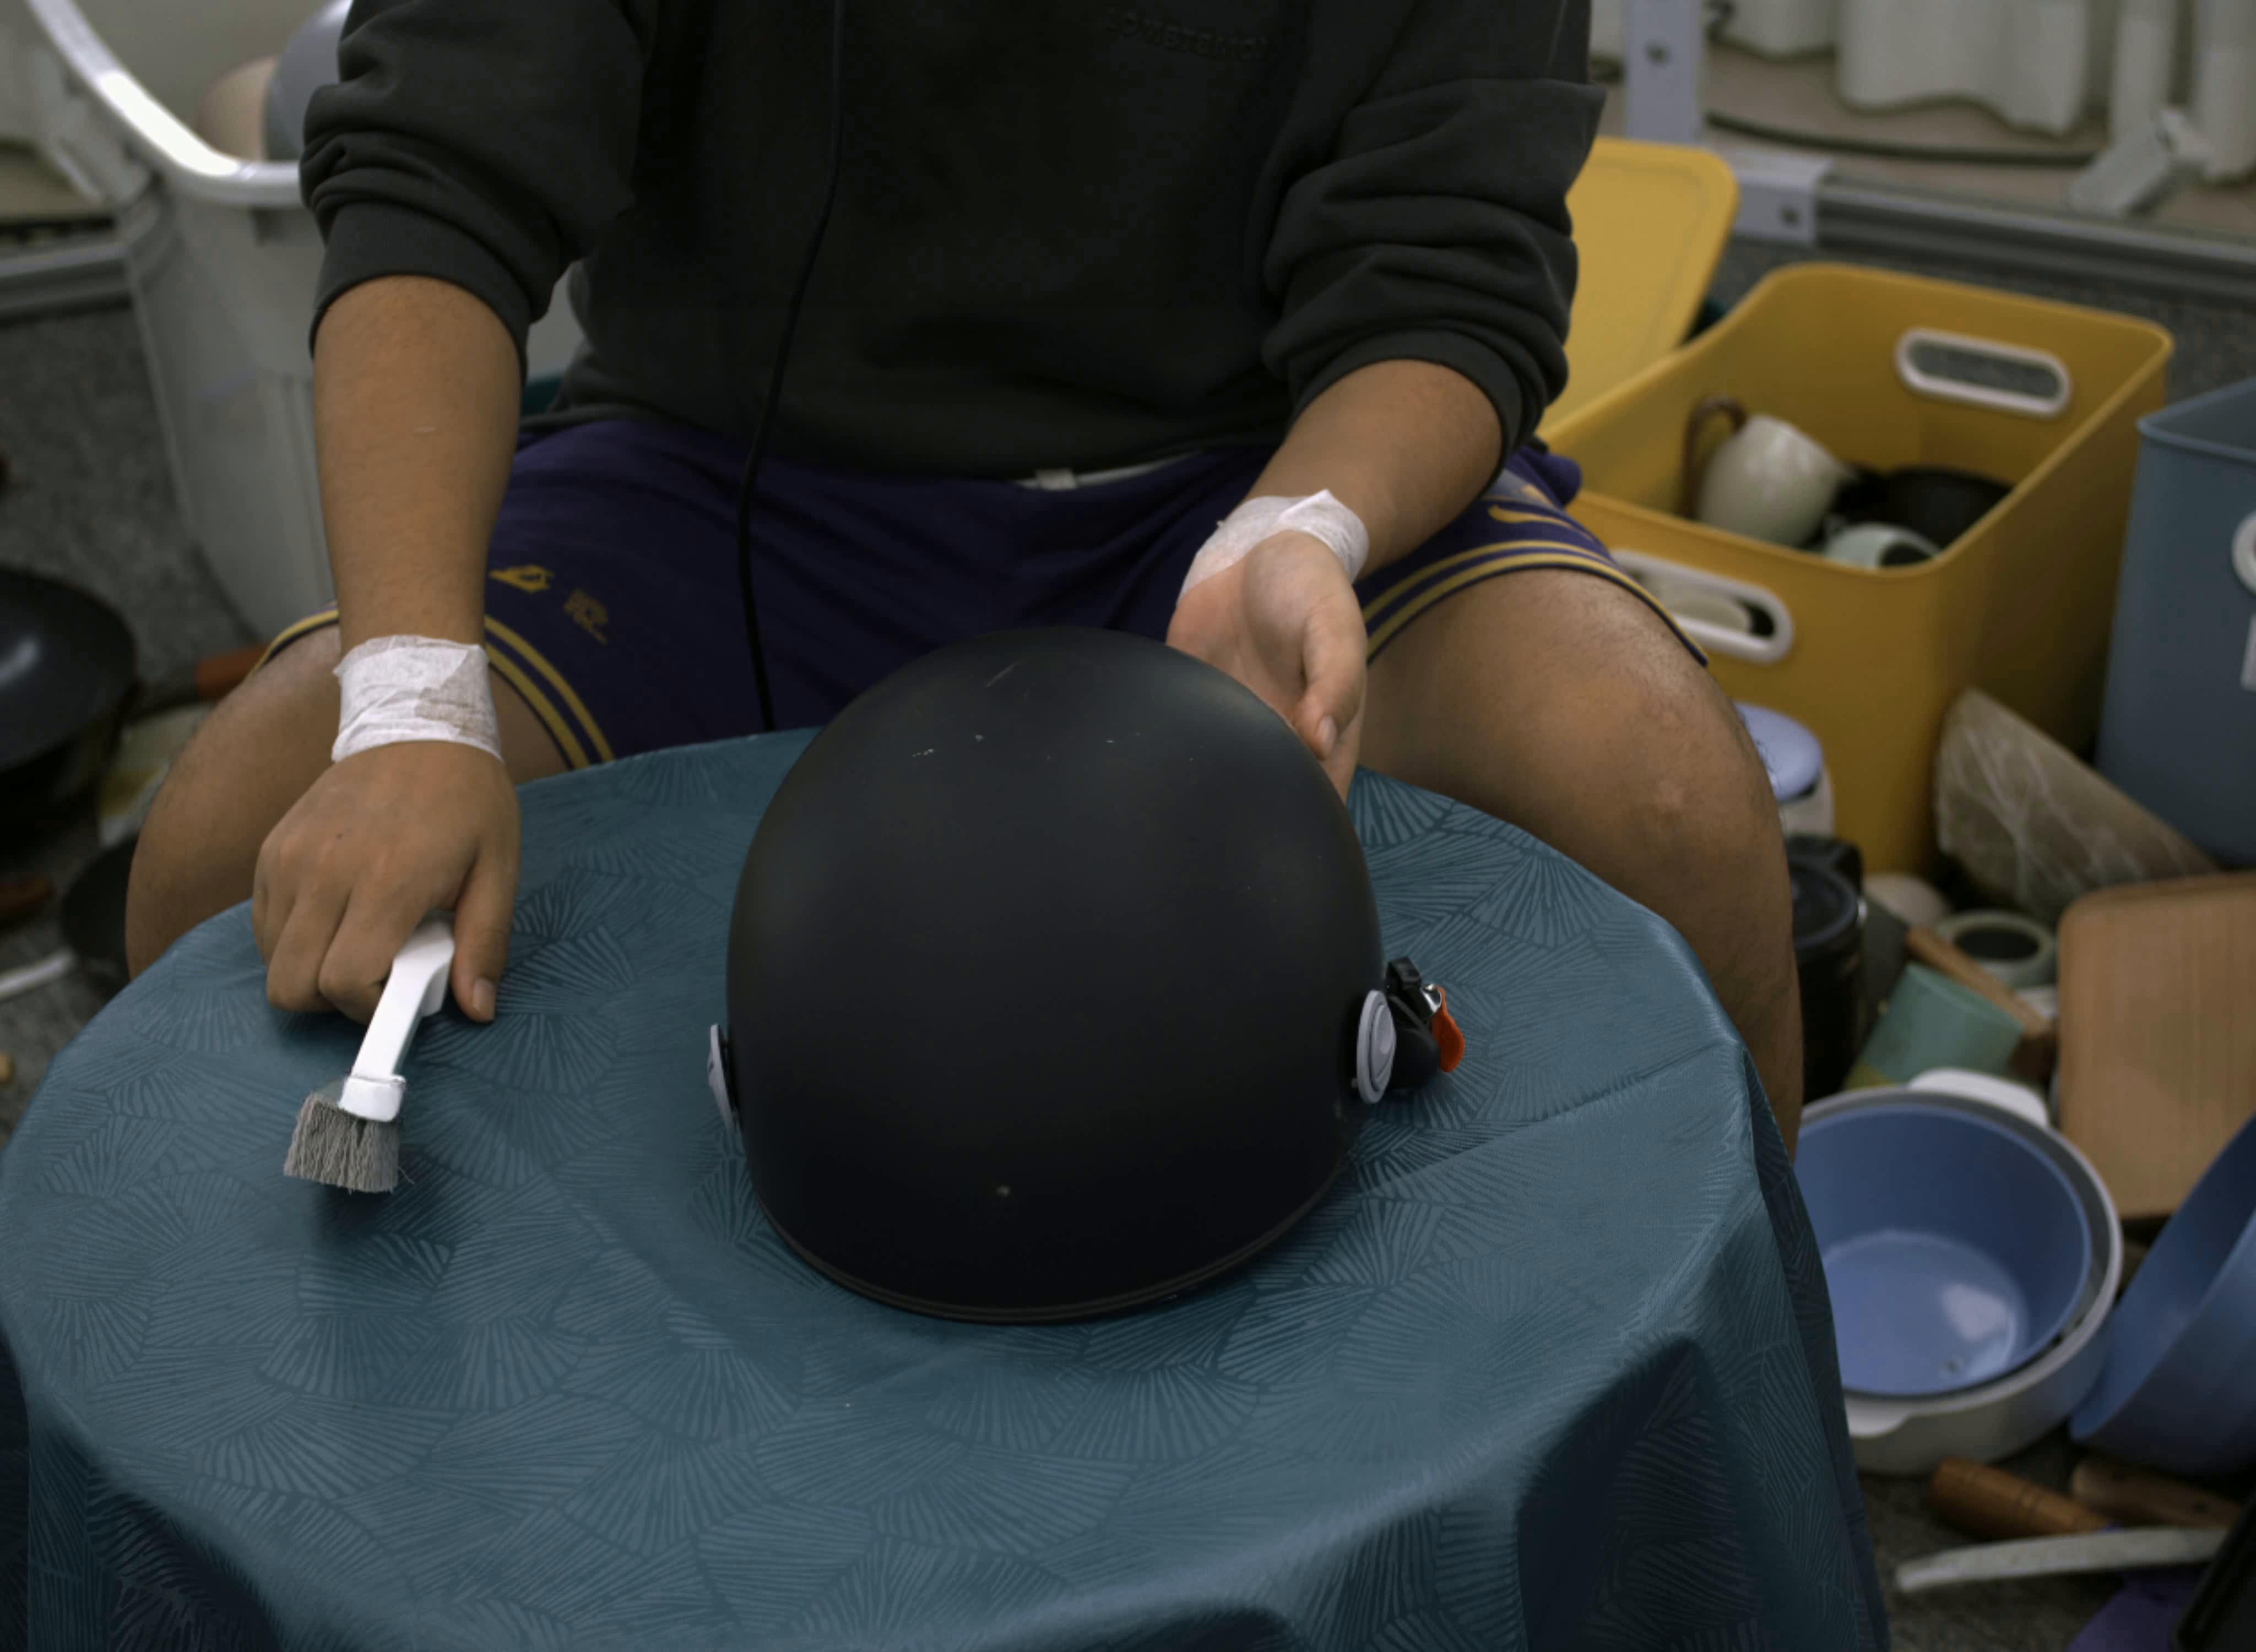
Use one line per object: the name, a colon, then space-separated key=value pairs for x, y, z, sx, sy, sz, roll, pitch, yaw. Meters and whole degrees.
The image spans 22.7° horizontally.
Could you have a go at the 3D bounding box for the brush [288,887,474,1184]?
brush: x=-0.257 y=0.076 z=1.952 sx=0.034 sy=0.050 sz=0.246 roll=11 pitch=15 yaw=-2

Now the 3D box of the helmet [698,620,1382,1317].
helmet: x=-0.030 y=0.028 z=1.876 sx=0.228 sy=0.165 sz=0.278 roll=-3 pitch=29 yaw=9
